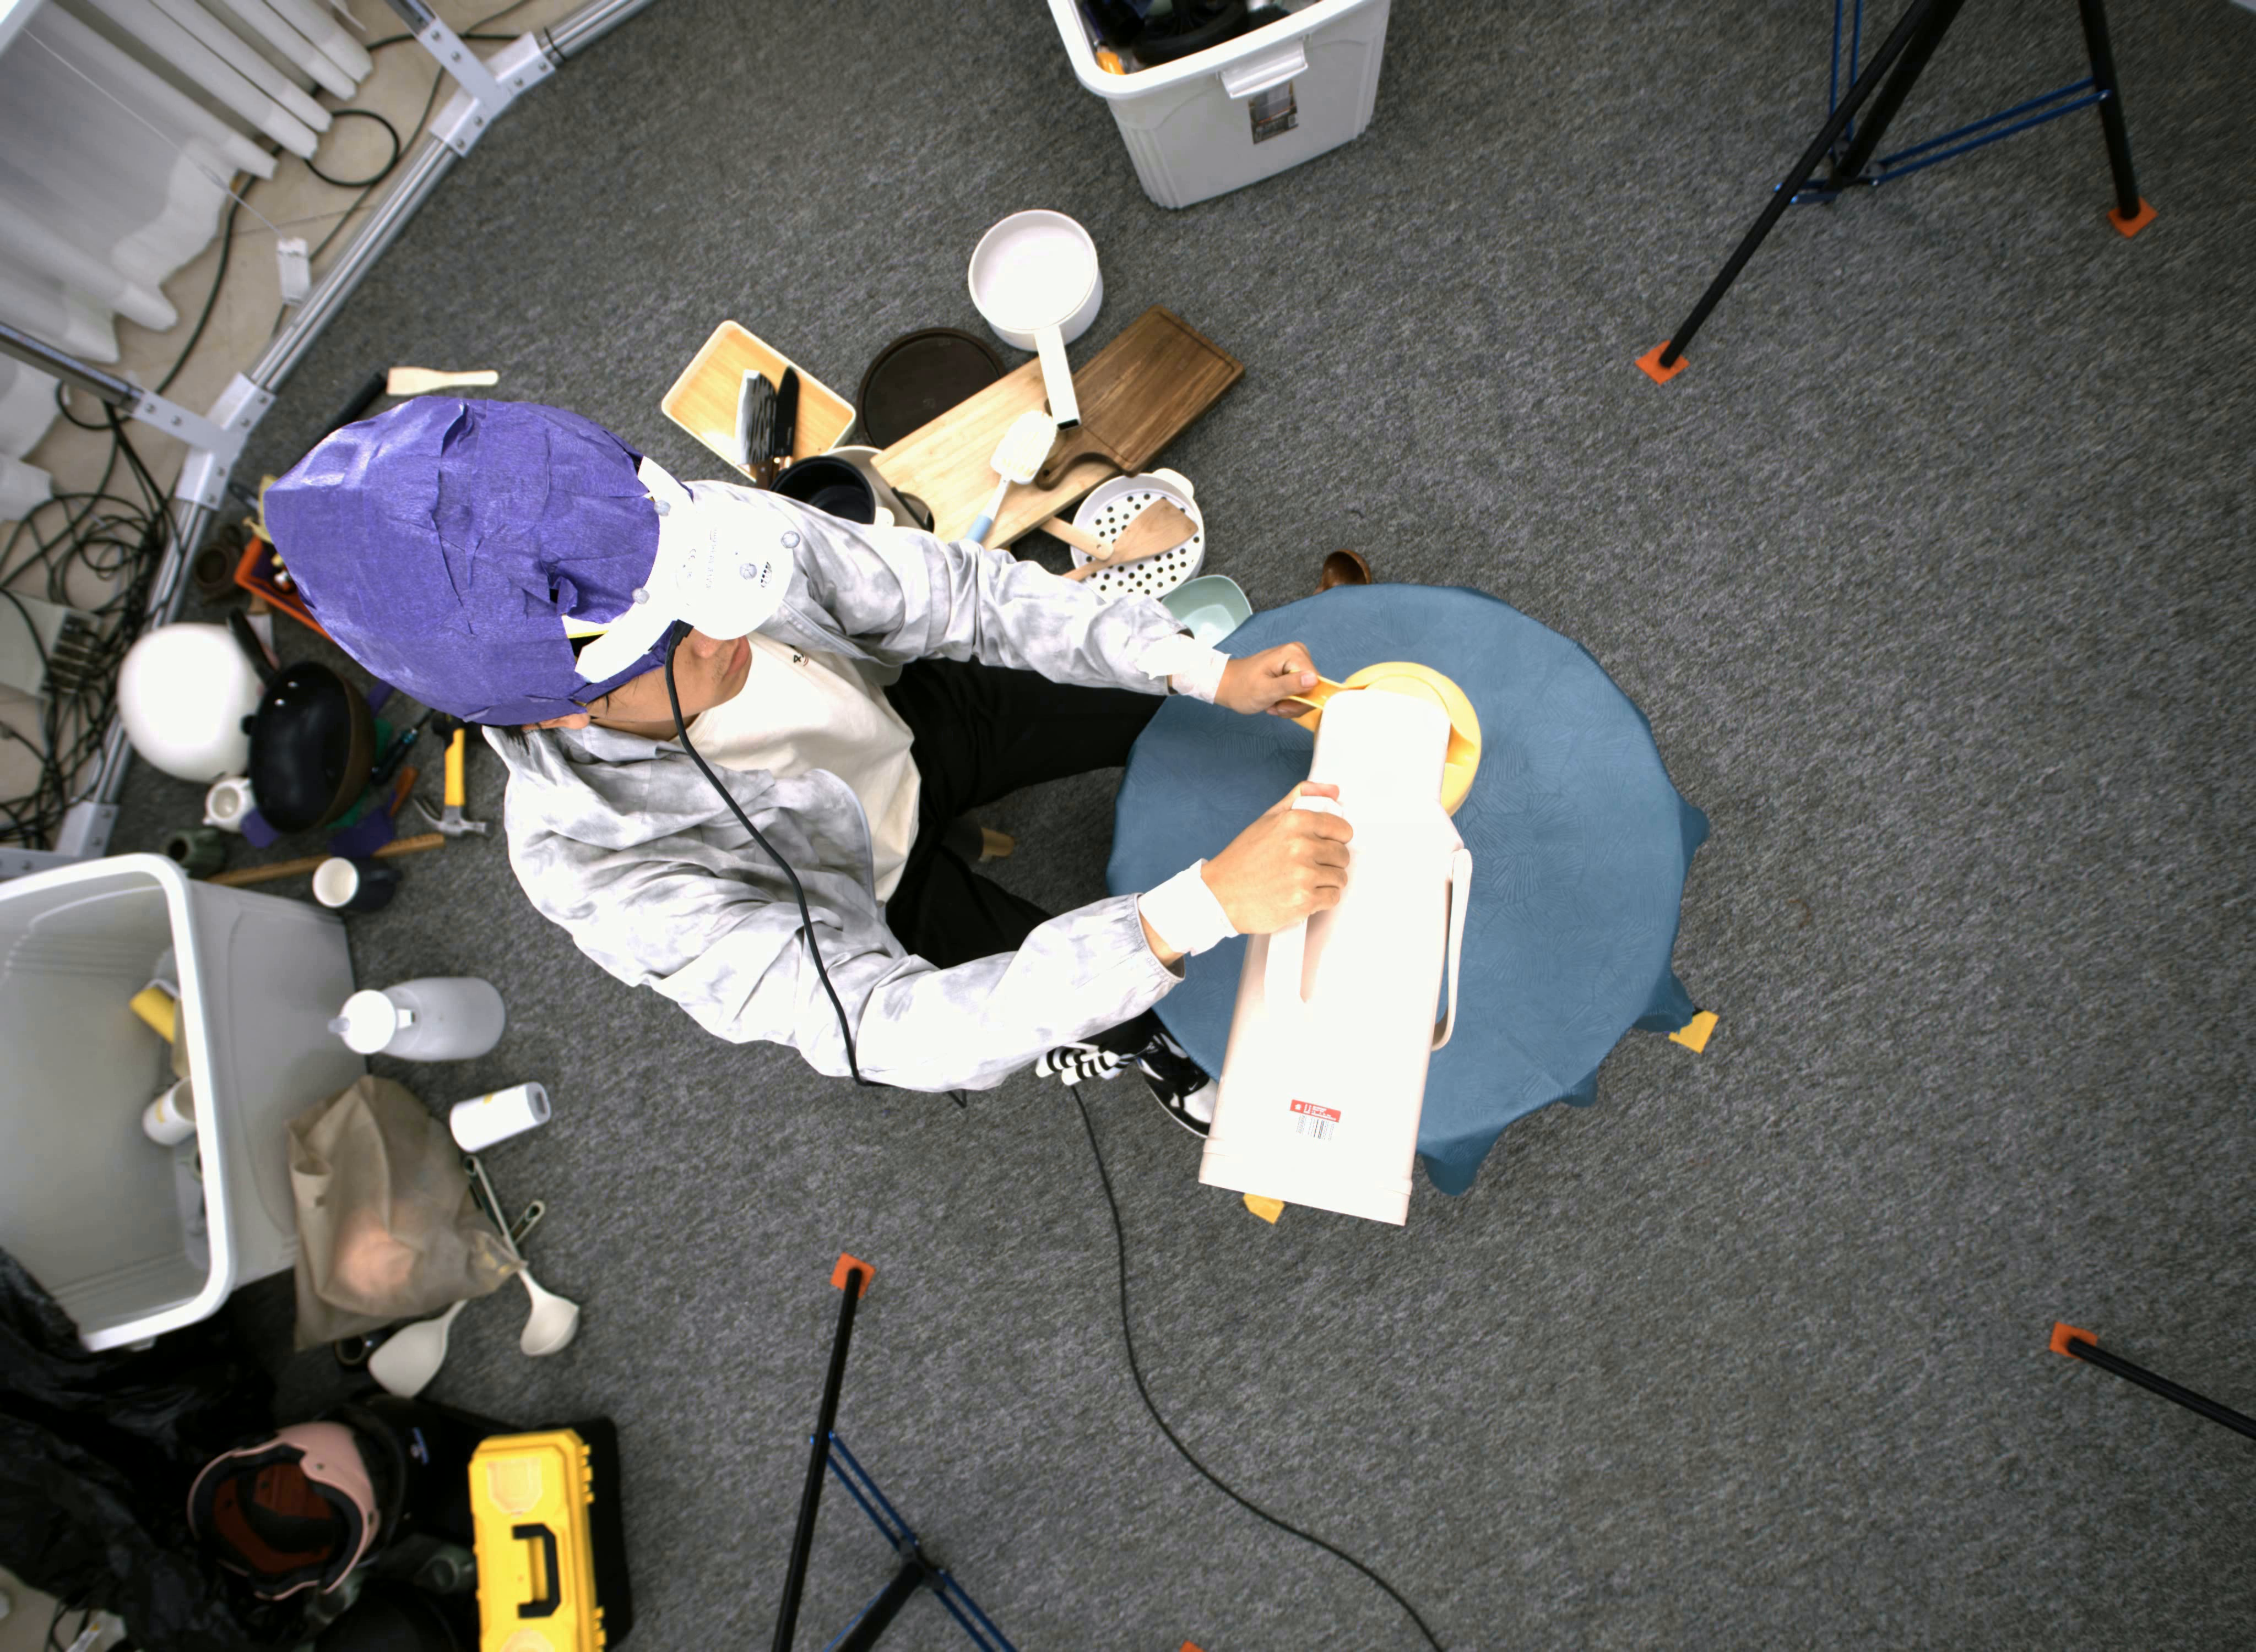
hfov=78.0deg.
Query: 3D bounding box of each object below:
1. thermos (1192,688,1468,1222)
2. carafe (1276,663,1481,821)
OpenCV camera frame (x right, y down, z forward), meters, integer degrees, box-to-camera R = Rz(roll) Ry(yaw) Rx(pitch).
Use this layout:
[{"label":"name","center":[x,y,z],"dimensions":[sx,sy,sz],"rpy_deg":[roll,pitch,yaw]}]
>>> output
[{"label":"thermos","center":[0.160,0.092,1.079],"dimensions":[0.176,0.208,0.402],"rpy_deg":[7,78,33]},{"label":"carafe","center":[0.243,-0.087,1.339],"dimensions":[0.202,0.261,0.163],"rpy_deg":[26,87,10]}]
